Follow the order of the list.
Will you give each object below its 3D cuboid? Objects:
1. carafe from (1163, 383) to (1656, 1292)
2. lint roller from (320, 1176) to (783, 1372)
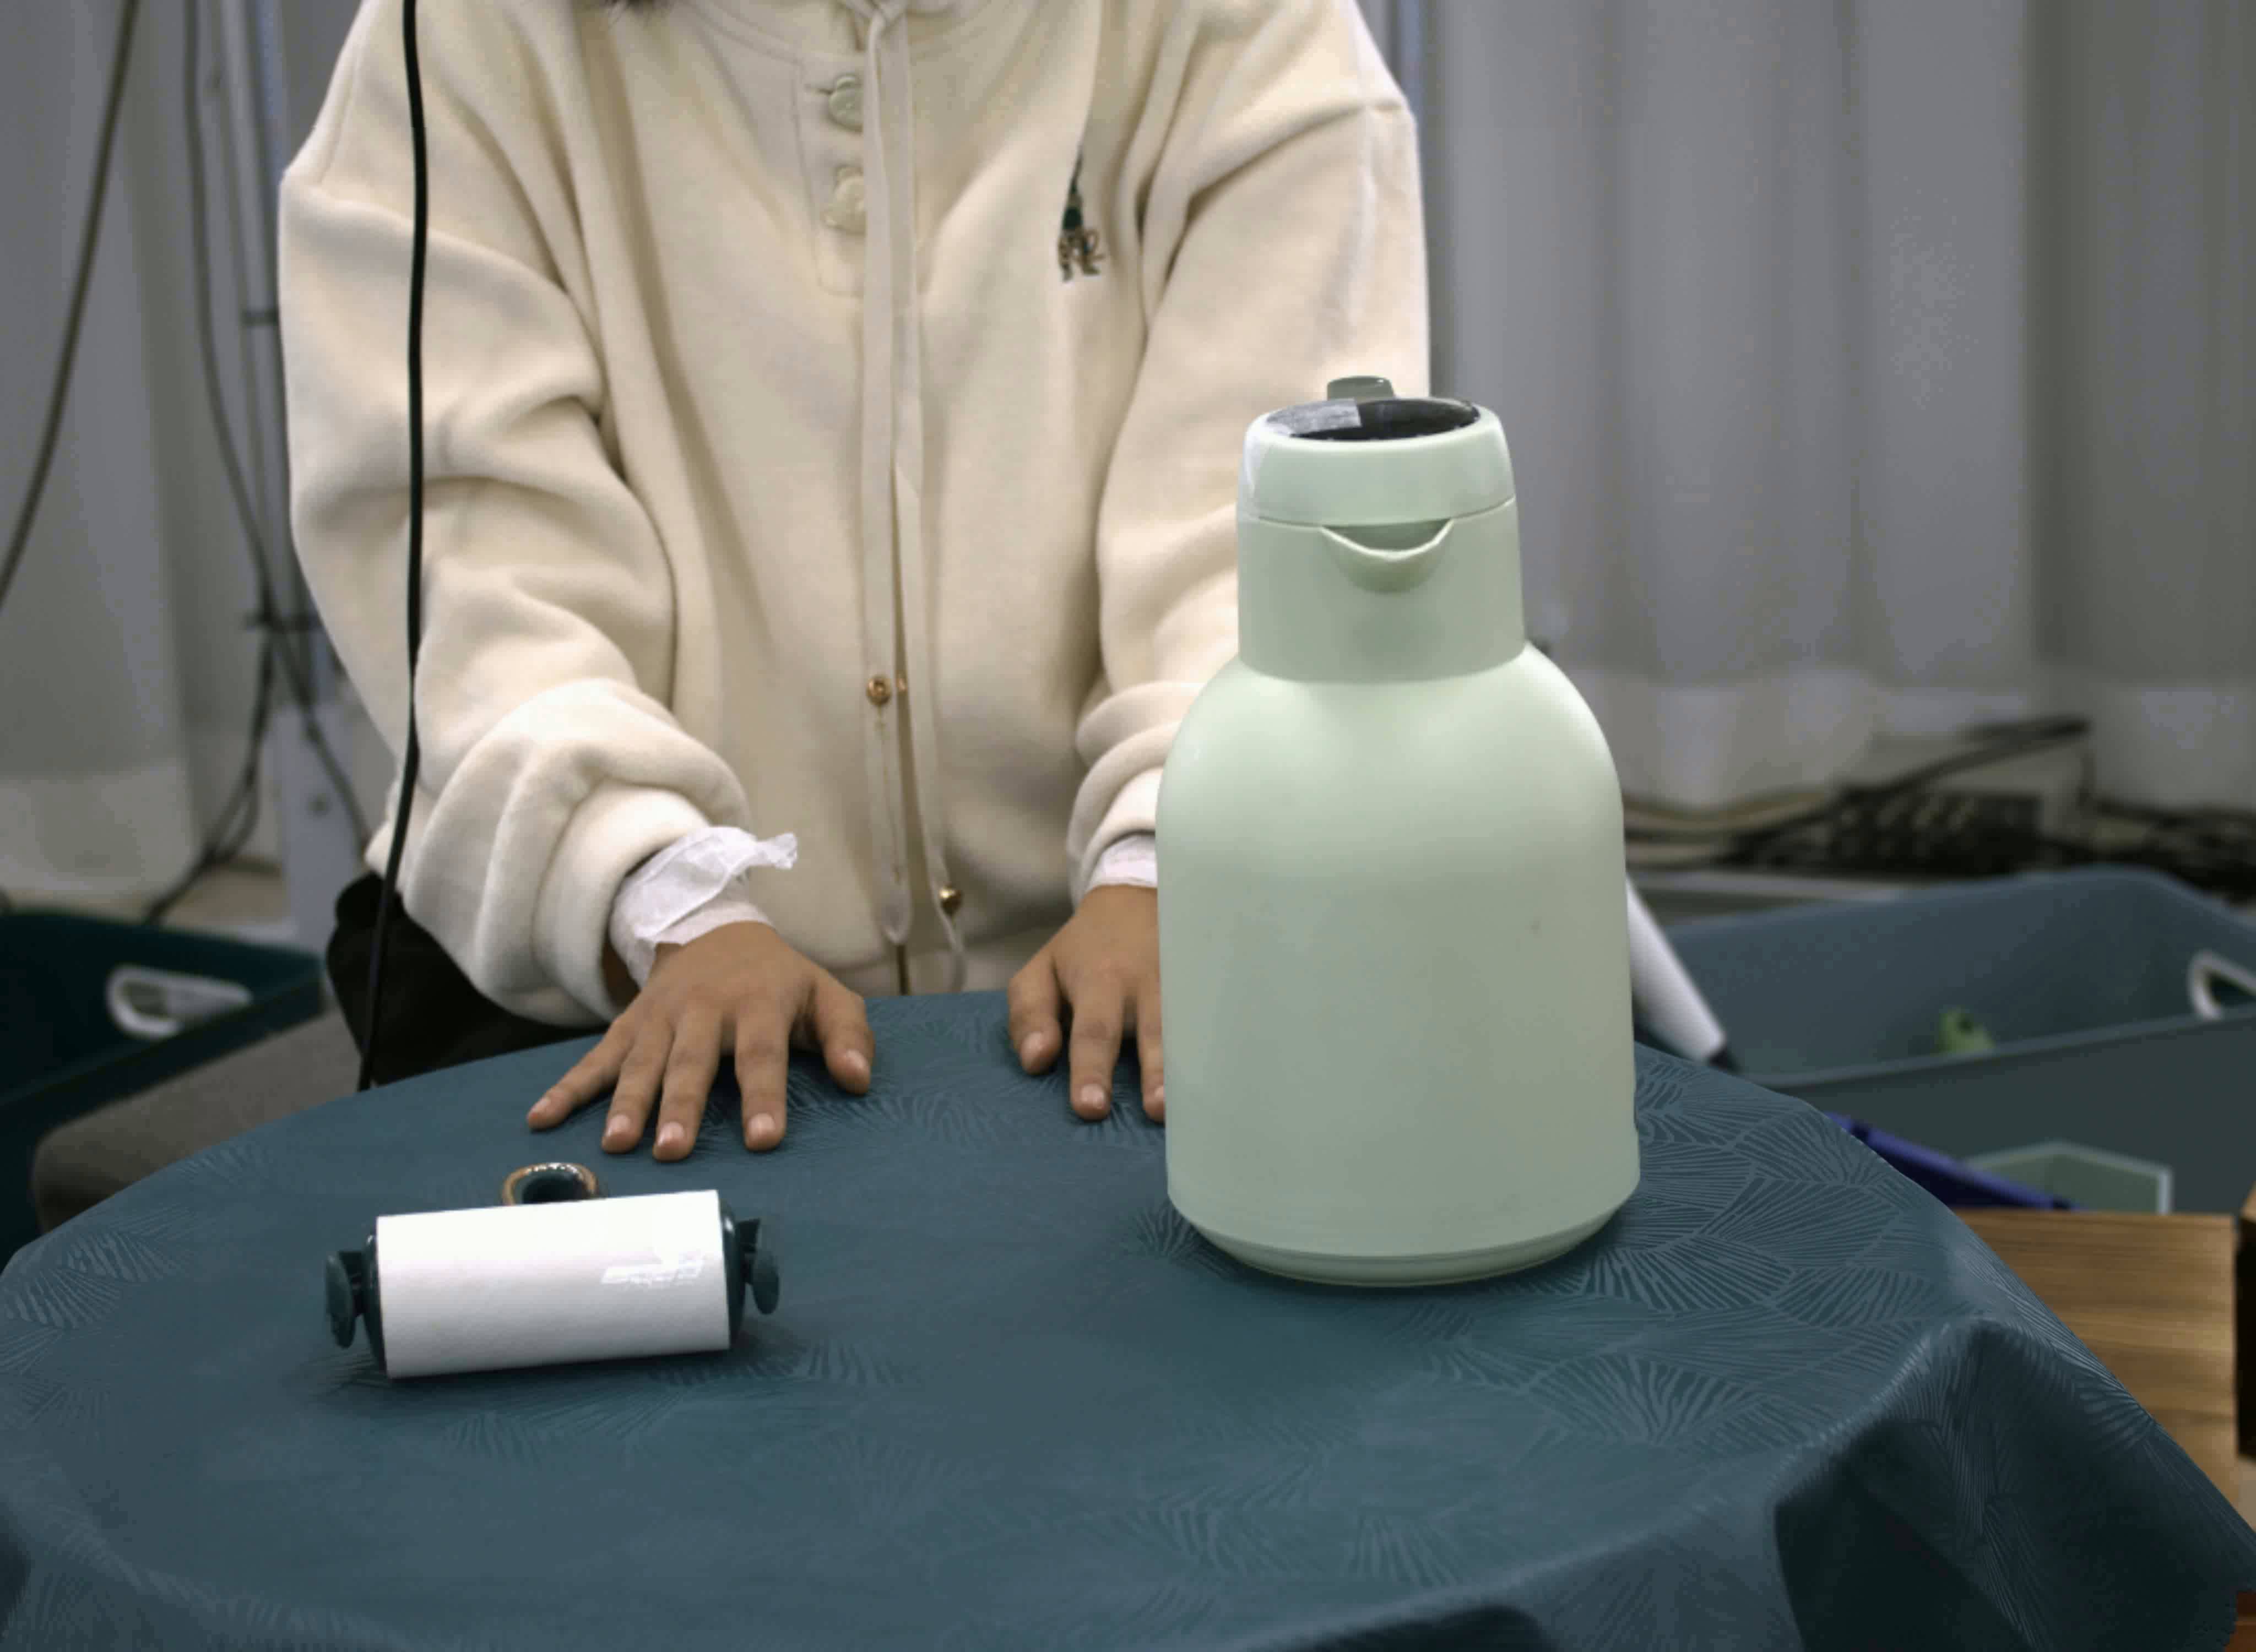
[{"bbox_3d":[0.080,-0.002,1.657,0.144,0.256,0.188,-5,10,-1],"label":"carafe"},{"bbox_3d":[-0.174,0.116,1.652,0.134,0.048,0.181,-4,14,-5],"label":"lint roller"}]
